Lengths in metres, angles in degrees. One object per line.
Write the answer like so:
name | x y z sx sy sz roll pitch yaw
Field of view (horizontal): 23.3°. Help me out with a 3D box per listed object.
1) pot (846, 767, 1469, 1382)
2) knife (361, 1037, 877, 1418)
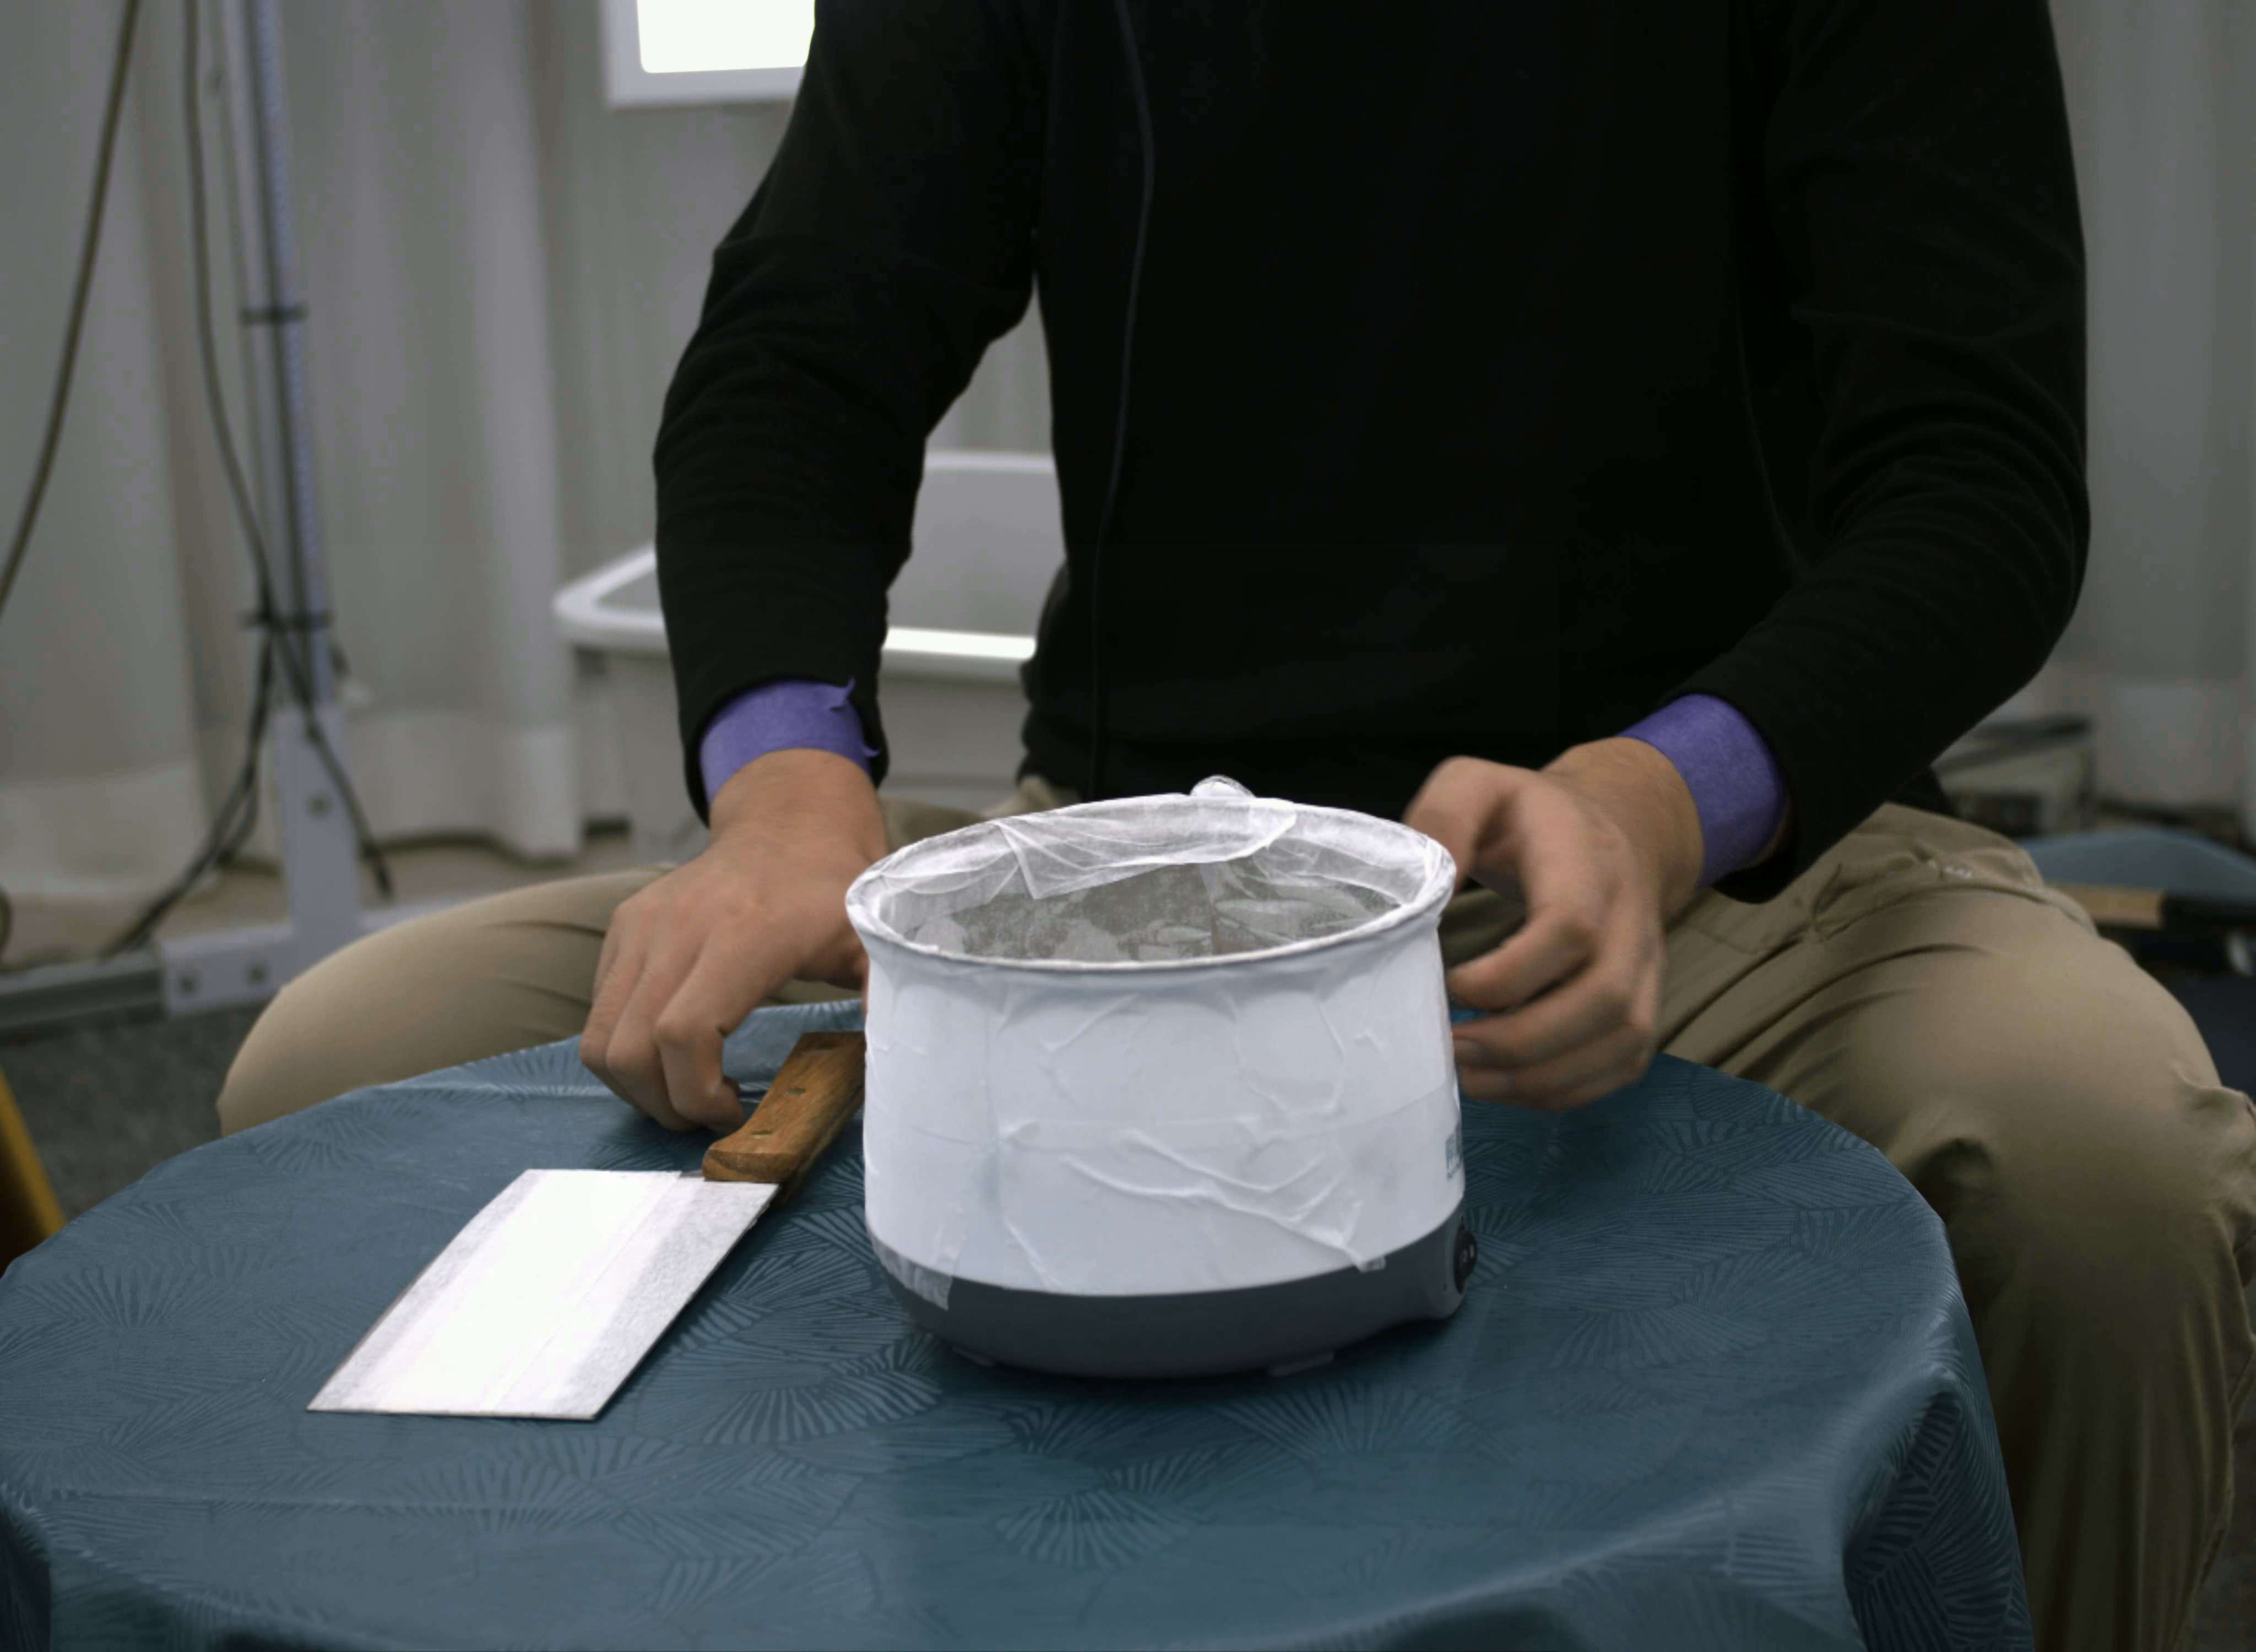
pot | 0.015 0.068 1.618 0.178 0.136 0.235 1 16 11
knife | -0.156 0.122 1.690 0.093 0.021 0.307 1 17 14
